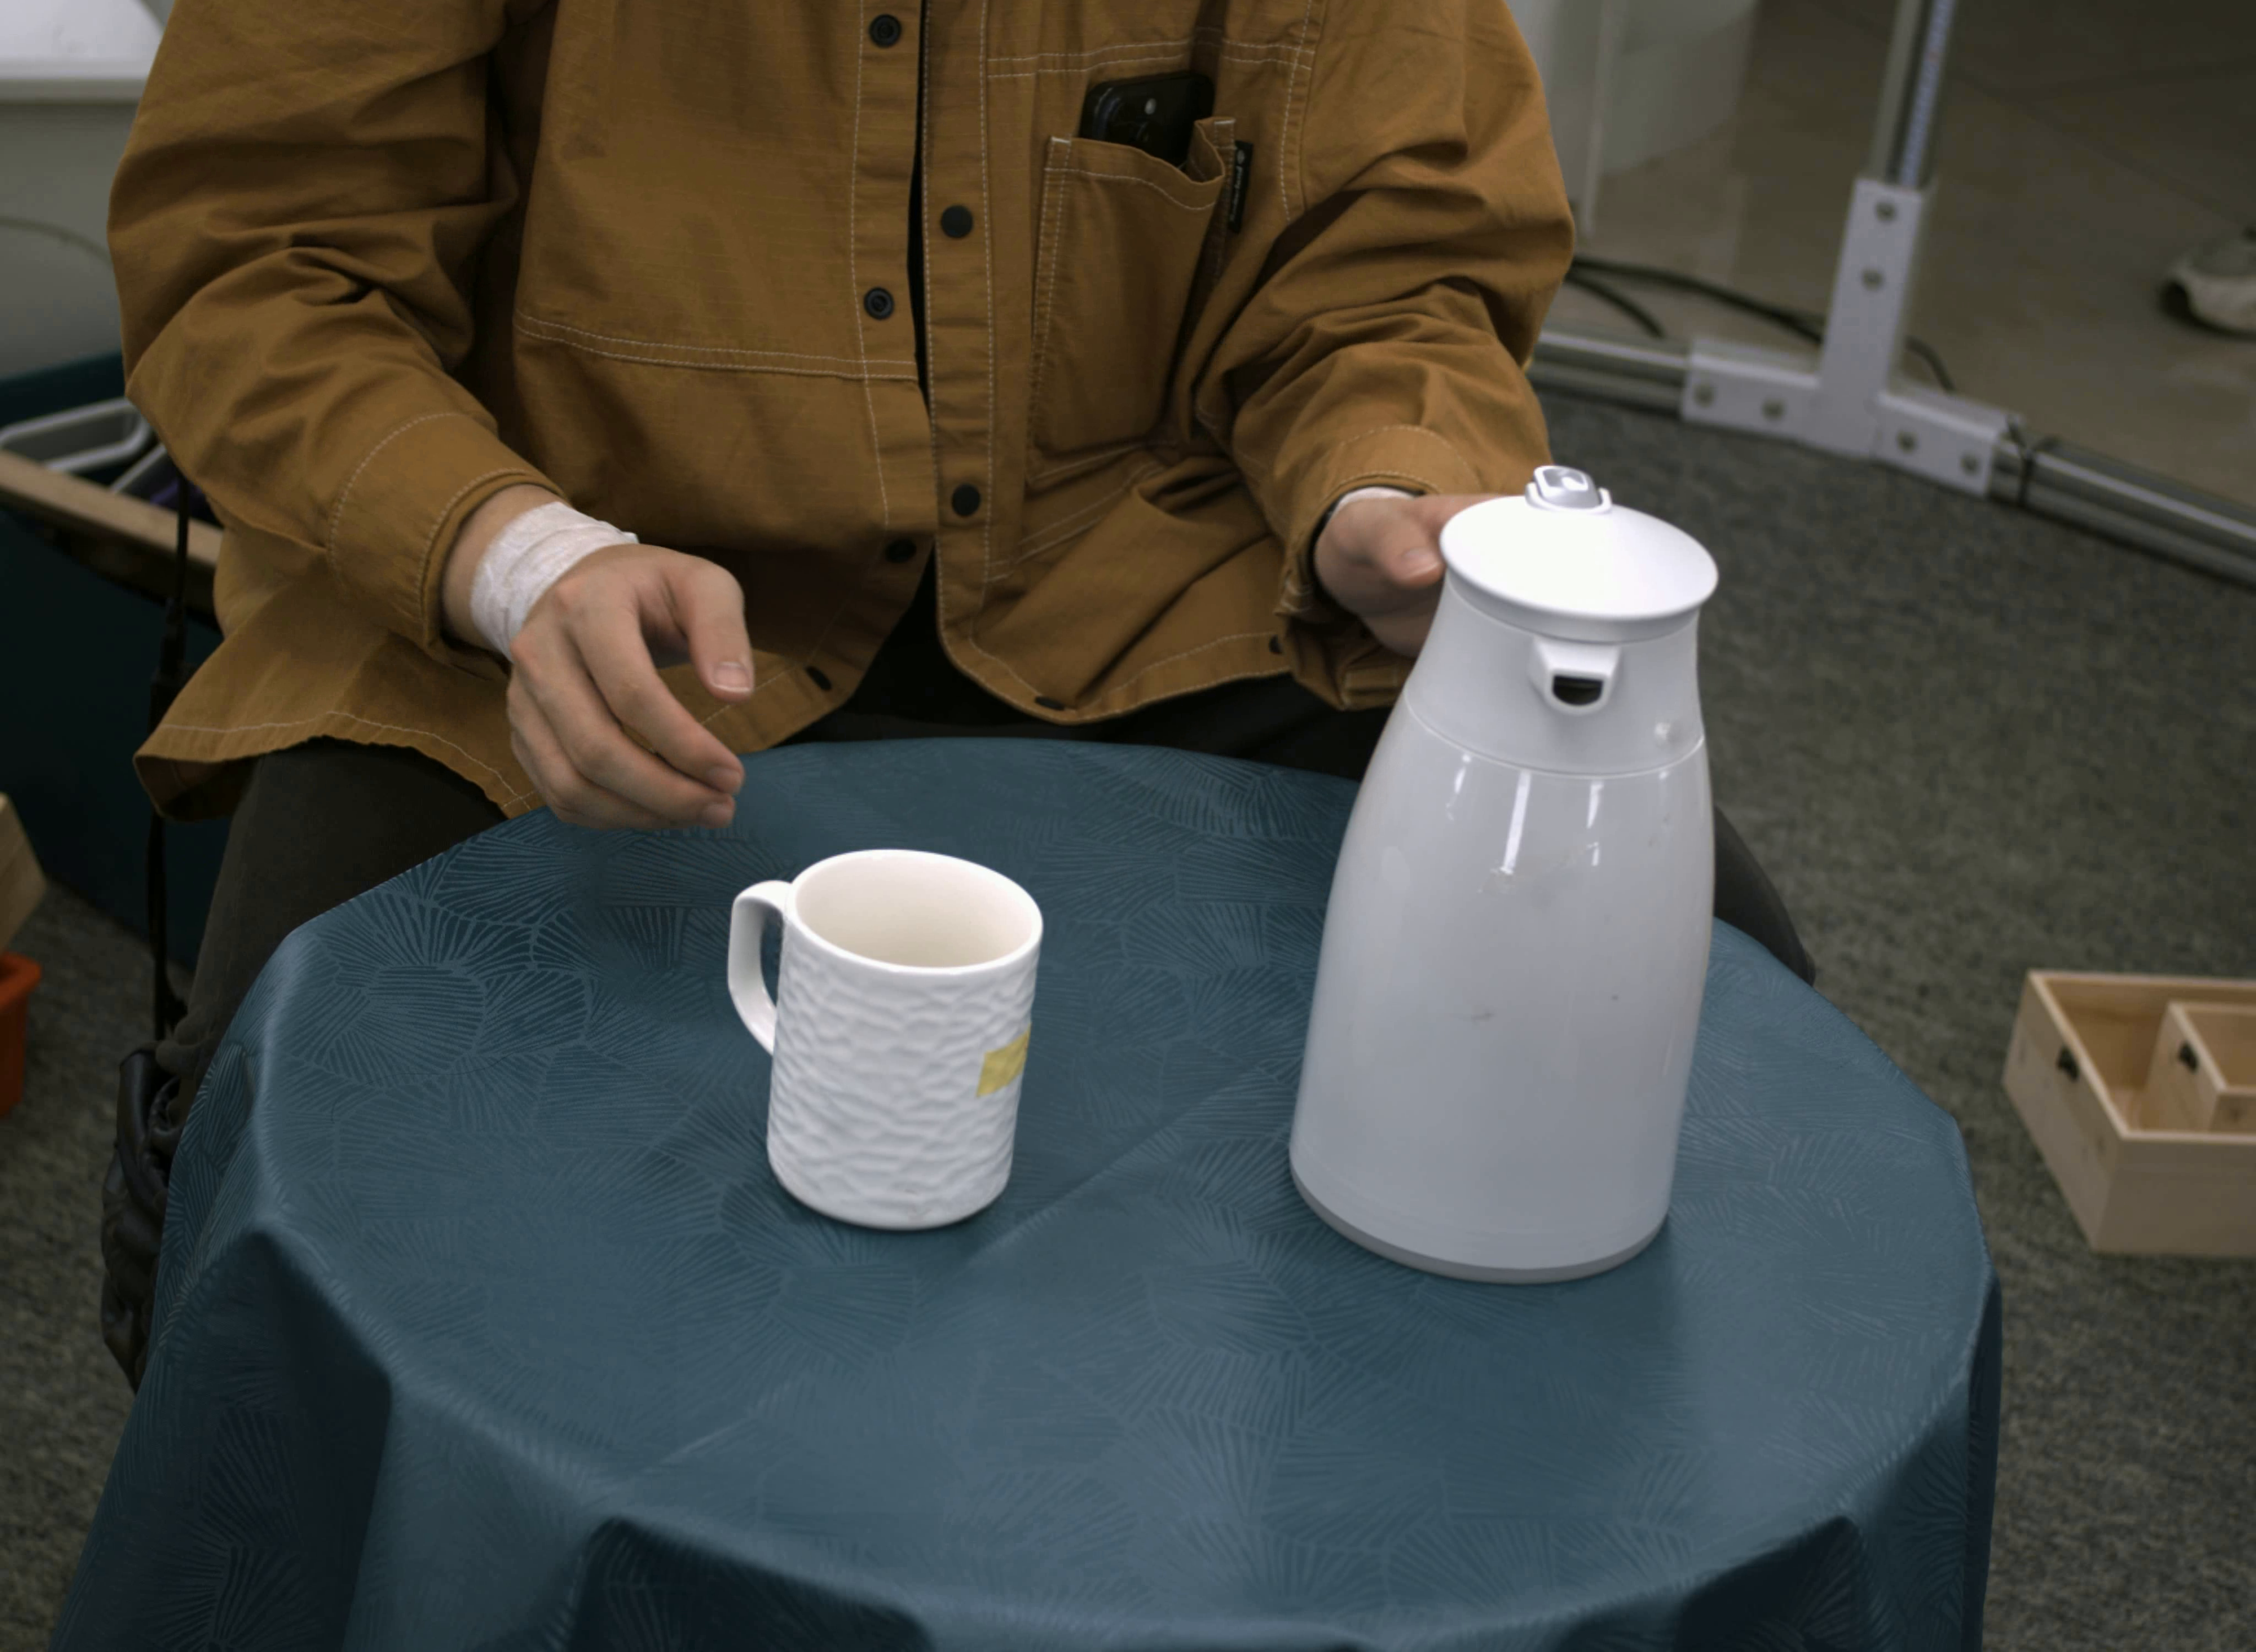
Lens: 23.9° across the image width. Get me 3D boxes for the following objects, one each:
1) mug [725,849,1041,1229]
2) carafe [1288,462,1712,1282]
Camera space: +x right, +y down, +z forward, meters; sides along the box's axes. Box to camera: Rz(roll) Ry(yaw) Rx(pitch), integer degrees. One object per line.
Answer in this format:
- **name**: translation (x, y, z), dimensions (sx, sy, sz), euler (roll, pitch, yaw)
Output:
- **mug**: translation (-0.089, 0.066, 1.786), dimensions (0.119, 0.101, 0.084), euler (24, 30, 32)
- **carafe**: translation (0.132, 0.005, 1.796), dimensions (0.132, 0.248, 0.168), euler (5, 26, -2)
